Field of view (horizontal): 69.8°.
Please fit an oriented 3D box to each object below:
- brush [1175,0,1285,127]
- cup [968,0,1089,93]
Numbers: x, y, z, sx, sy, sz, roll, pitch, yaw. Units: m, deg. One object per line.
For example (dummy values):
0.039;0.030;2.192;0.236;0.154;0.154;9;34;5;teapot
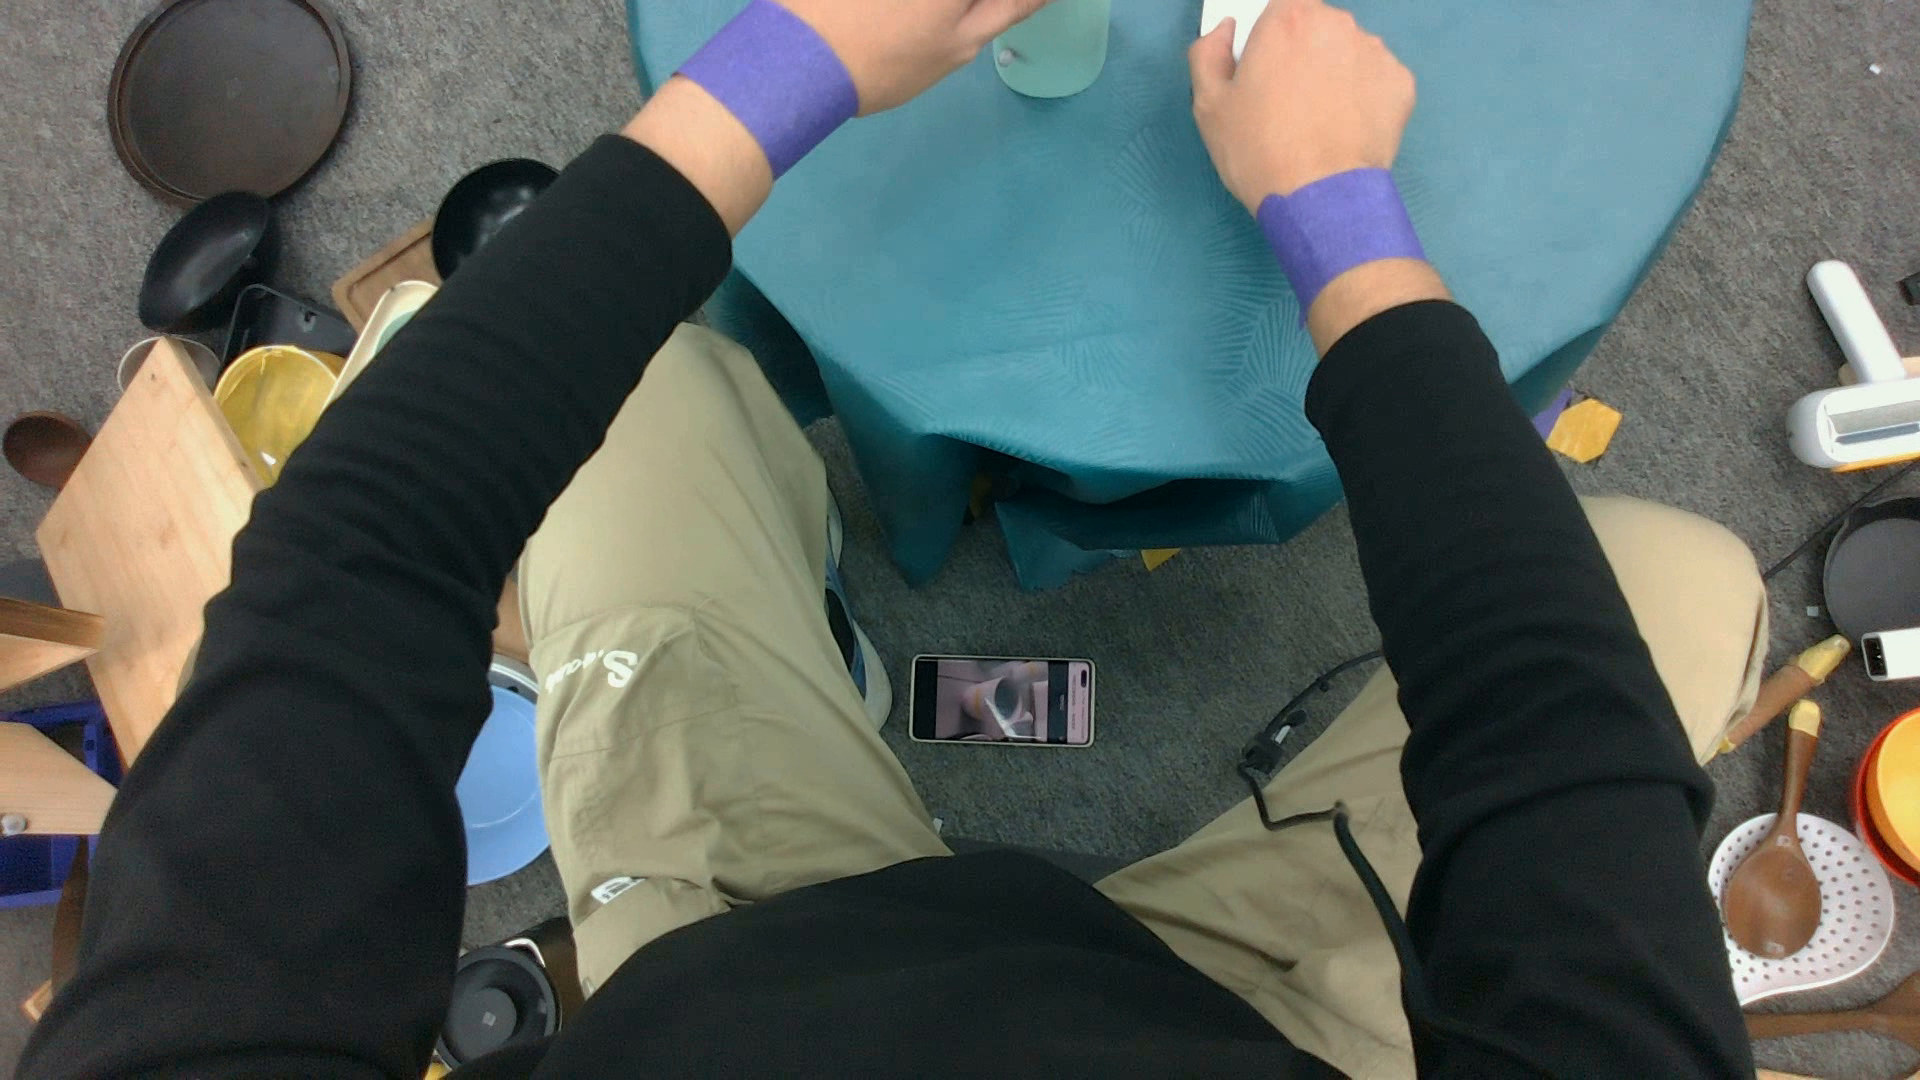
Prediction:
0.139;-0.270;0.696;0.050;0.072;0.099;10;83;5;brush
0.036;-0.279;0.677;0.067;0.132;0.067;0;81;2;cup
